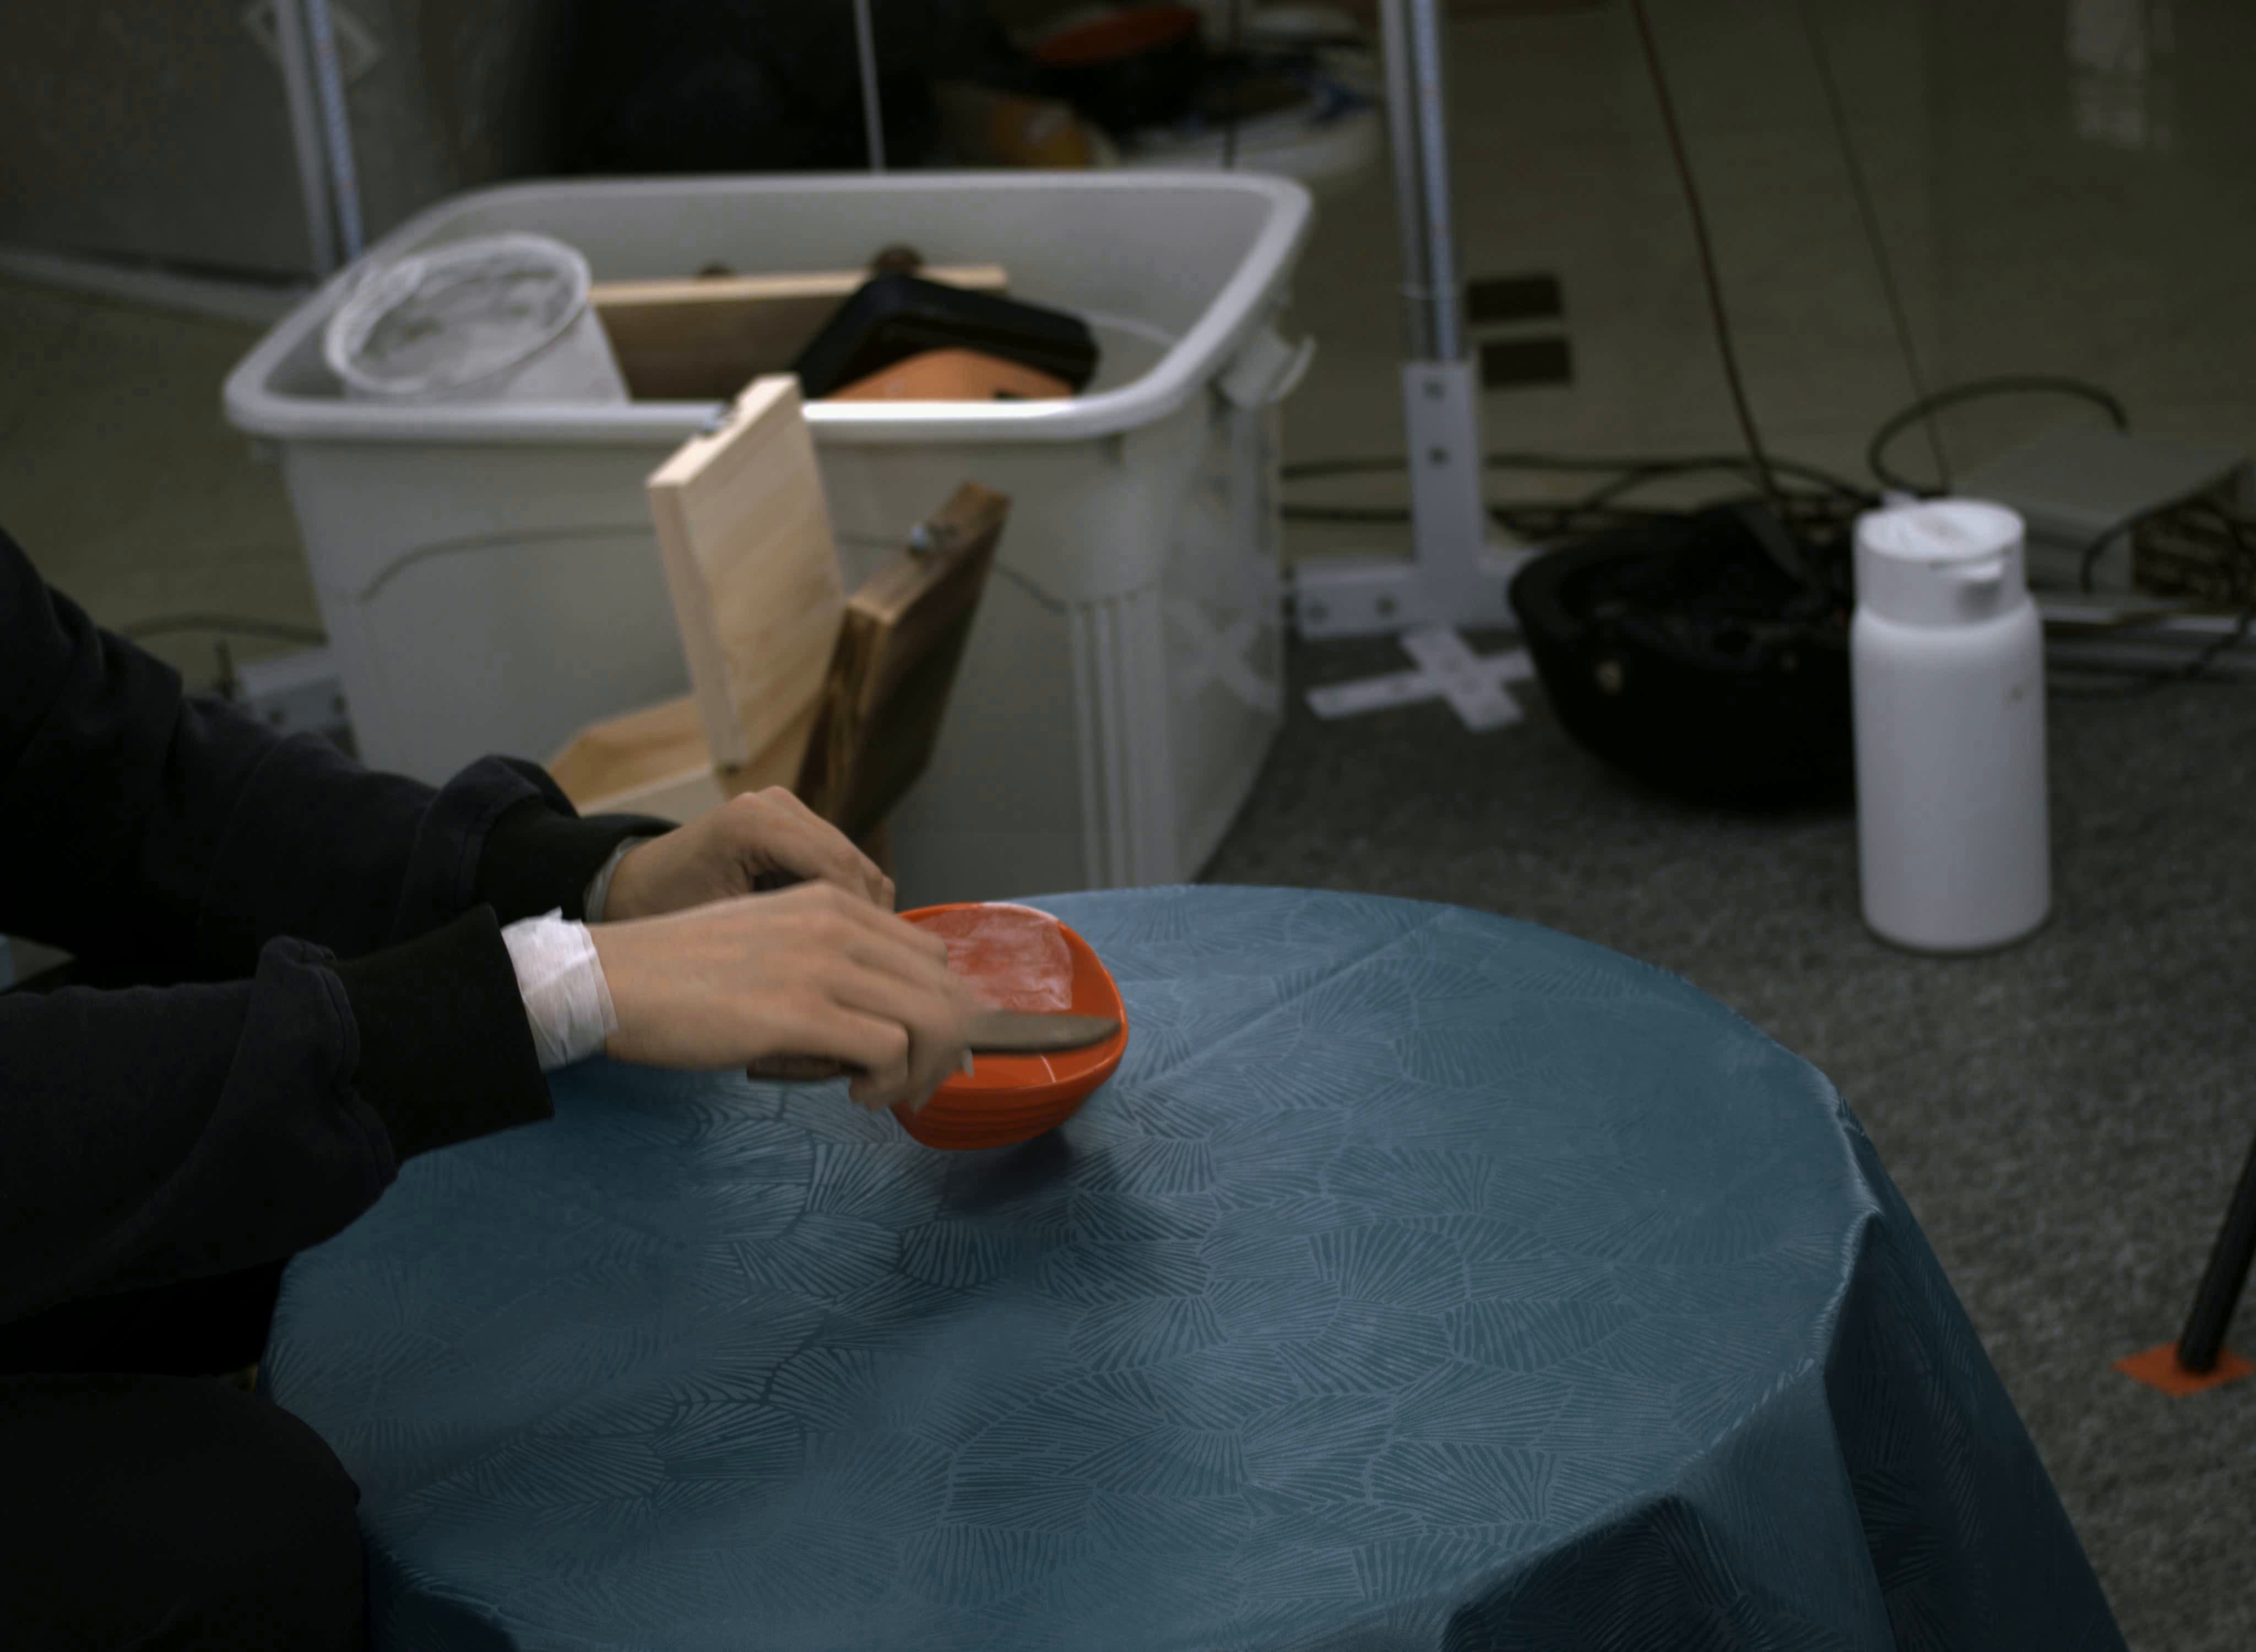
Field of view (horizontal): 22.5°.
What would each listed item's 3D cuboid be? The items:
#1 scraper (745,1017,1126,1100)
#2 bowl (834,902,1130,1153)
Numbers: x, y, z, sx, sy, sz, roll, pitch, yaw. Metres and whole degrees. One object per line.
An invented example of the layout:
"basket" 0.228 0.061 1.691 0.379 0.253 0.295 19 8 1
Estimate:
"scraper" -0.076 0.085 2.042 0.075 0.011 0.211 6 6 26
"bowl" -0.060 0.085 2.199 0.119 0.052 0.117 8 40 -6
